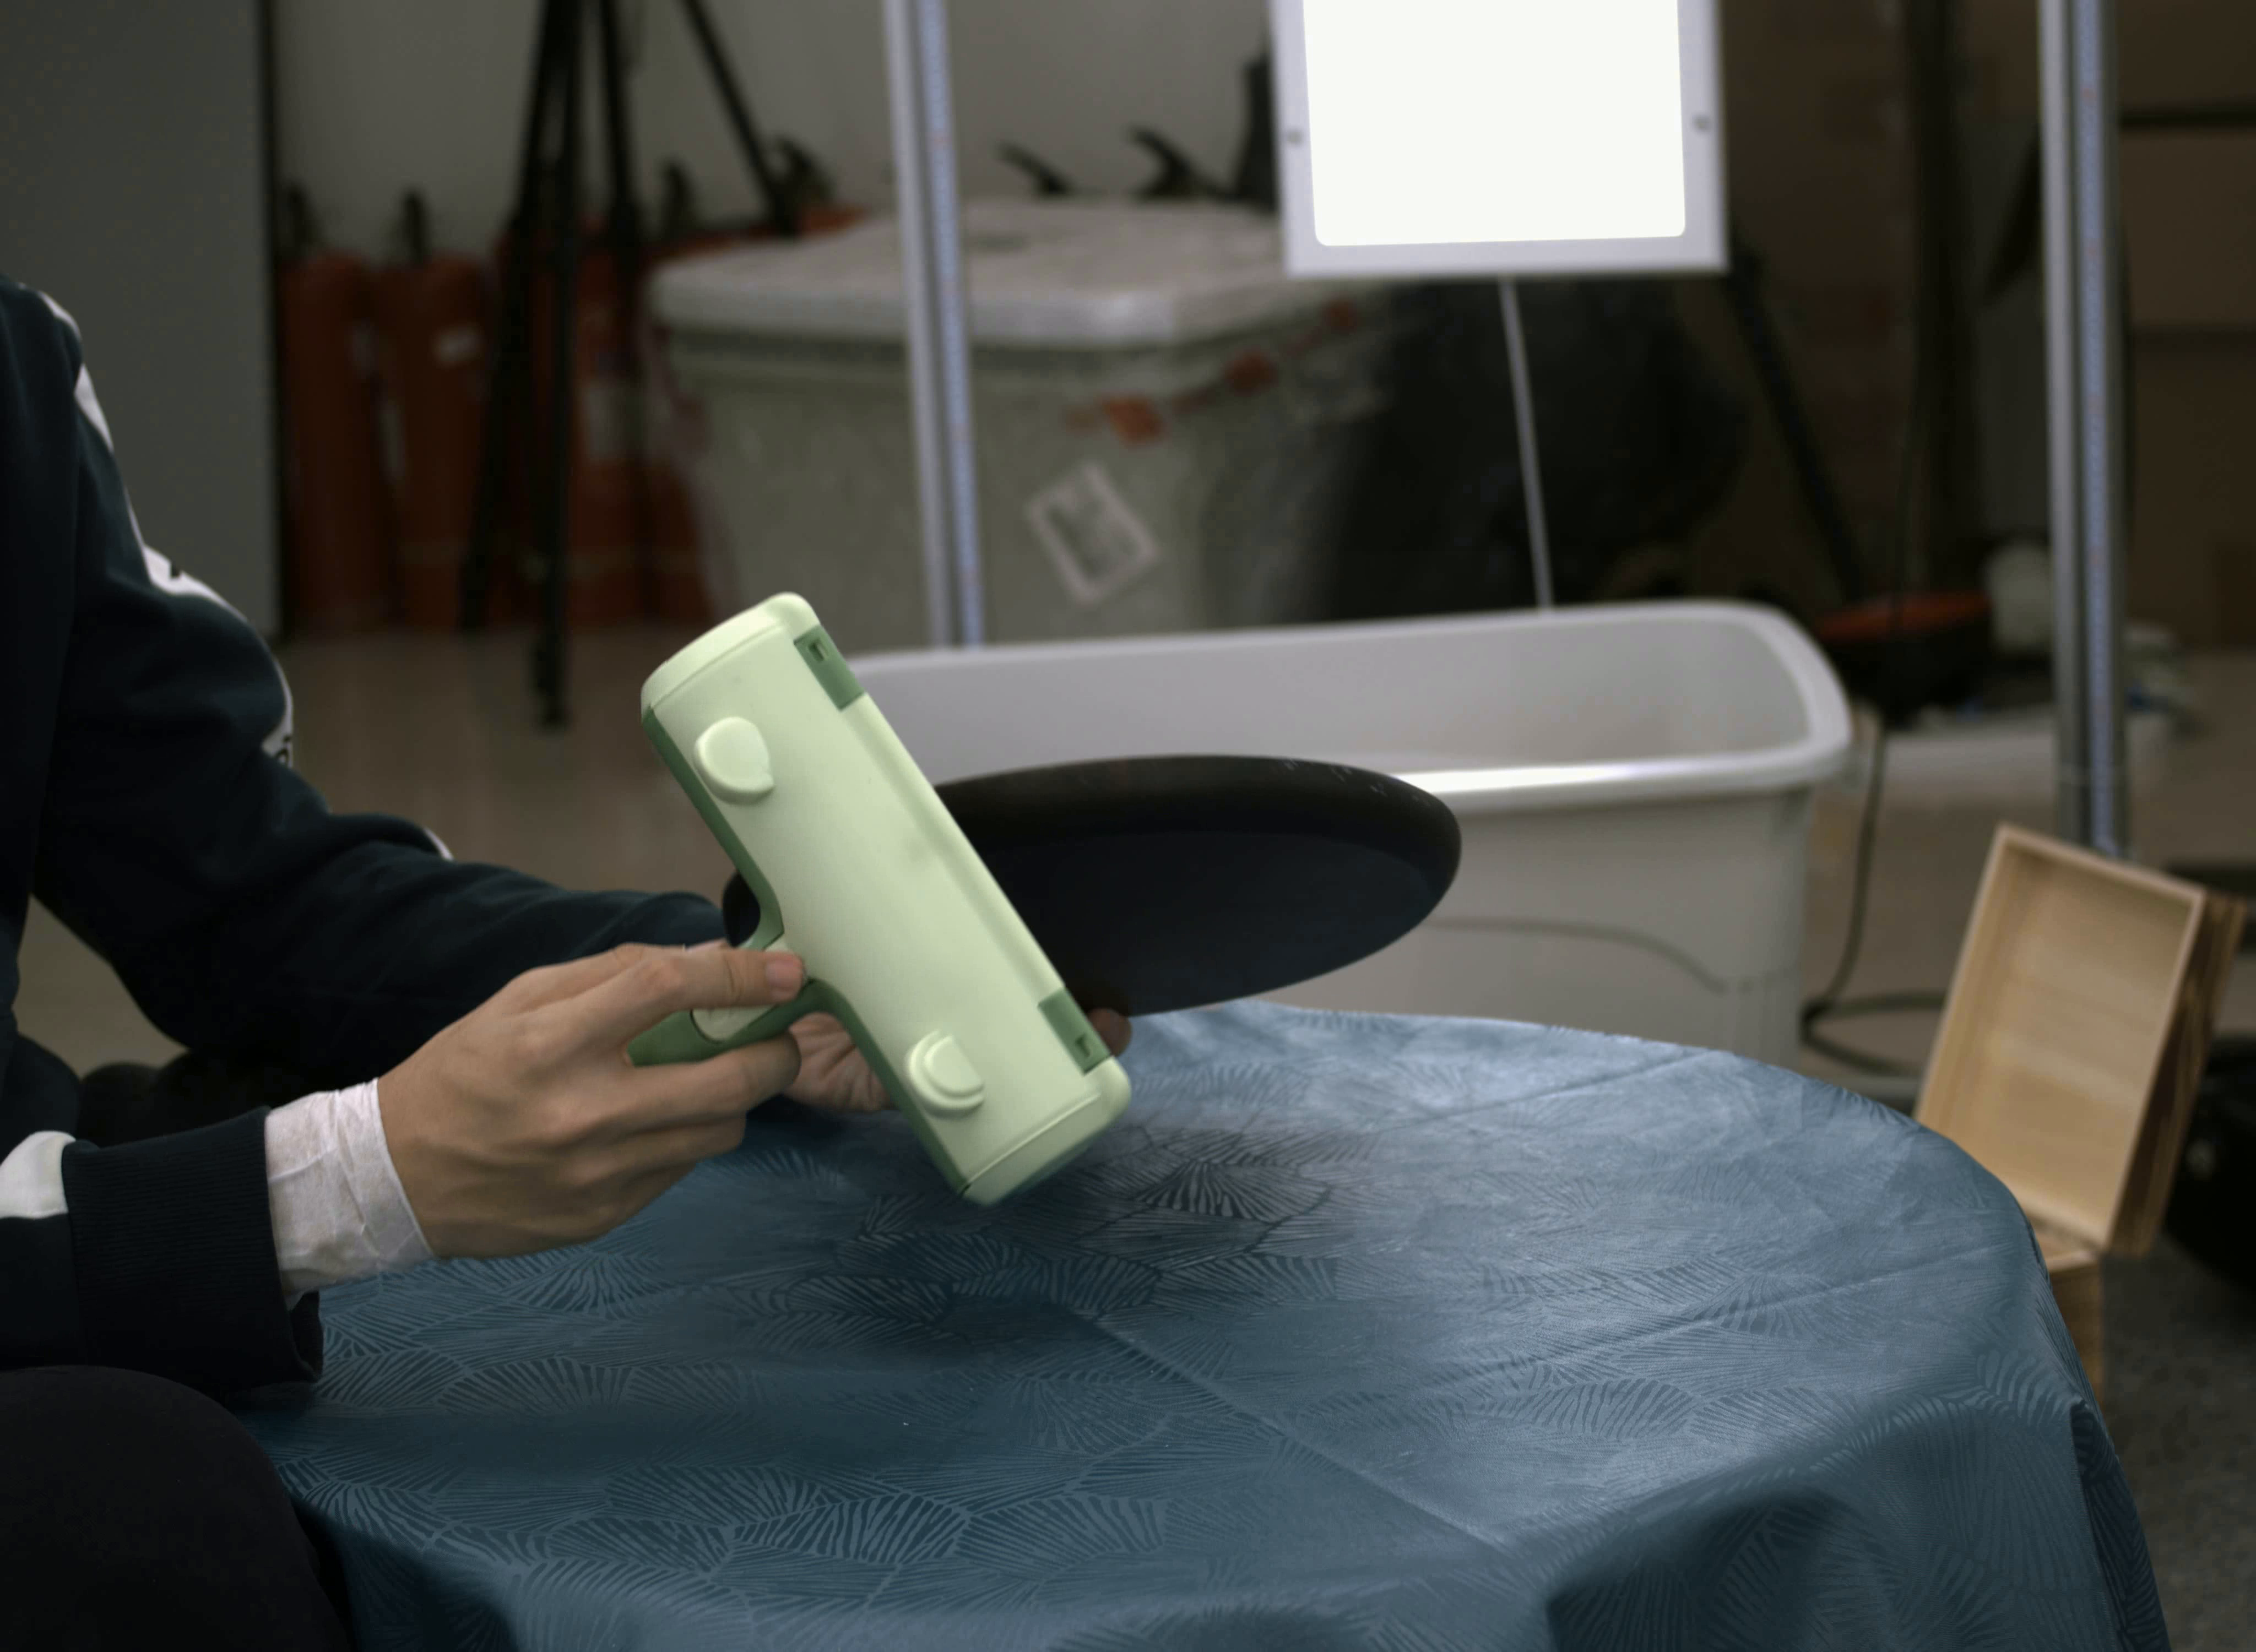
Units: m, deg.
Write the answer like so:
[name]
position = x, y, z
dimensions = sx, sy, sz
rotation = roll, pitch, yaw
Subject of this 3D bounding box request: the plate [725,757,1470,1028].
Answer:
[plate]
position = -0.009, 0.026, 1.854
dimensions = 0.253, 0.029, 0.255
rotation = -4, -16, -3

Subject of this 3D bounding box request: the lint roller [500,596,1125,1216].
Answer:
[lint roller]
position = -0.125, 0.057, 1.698
dimensions = 0.184, 0.199, 0.081
rotation = -34, -7, 8
